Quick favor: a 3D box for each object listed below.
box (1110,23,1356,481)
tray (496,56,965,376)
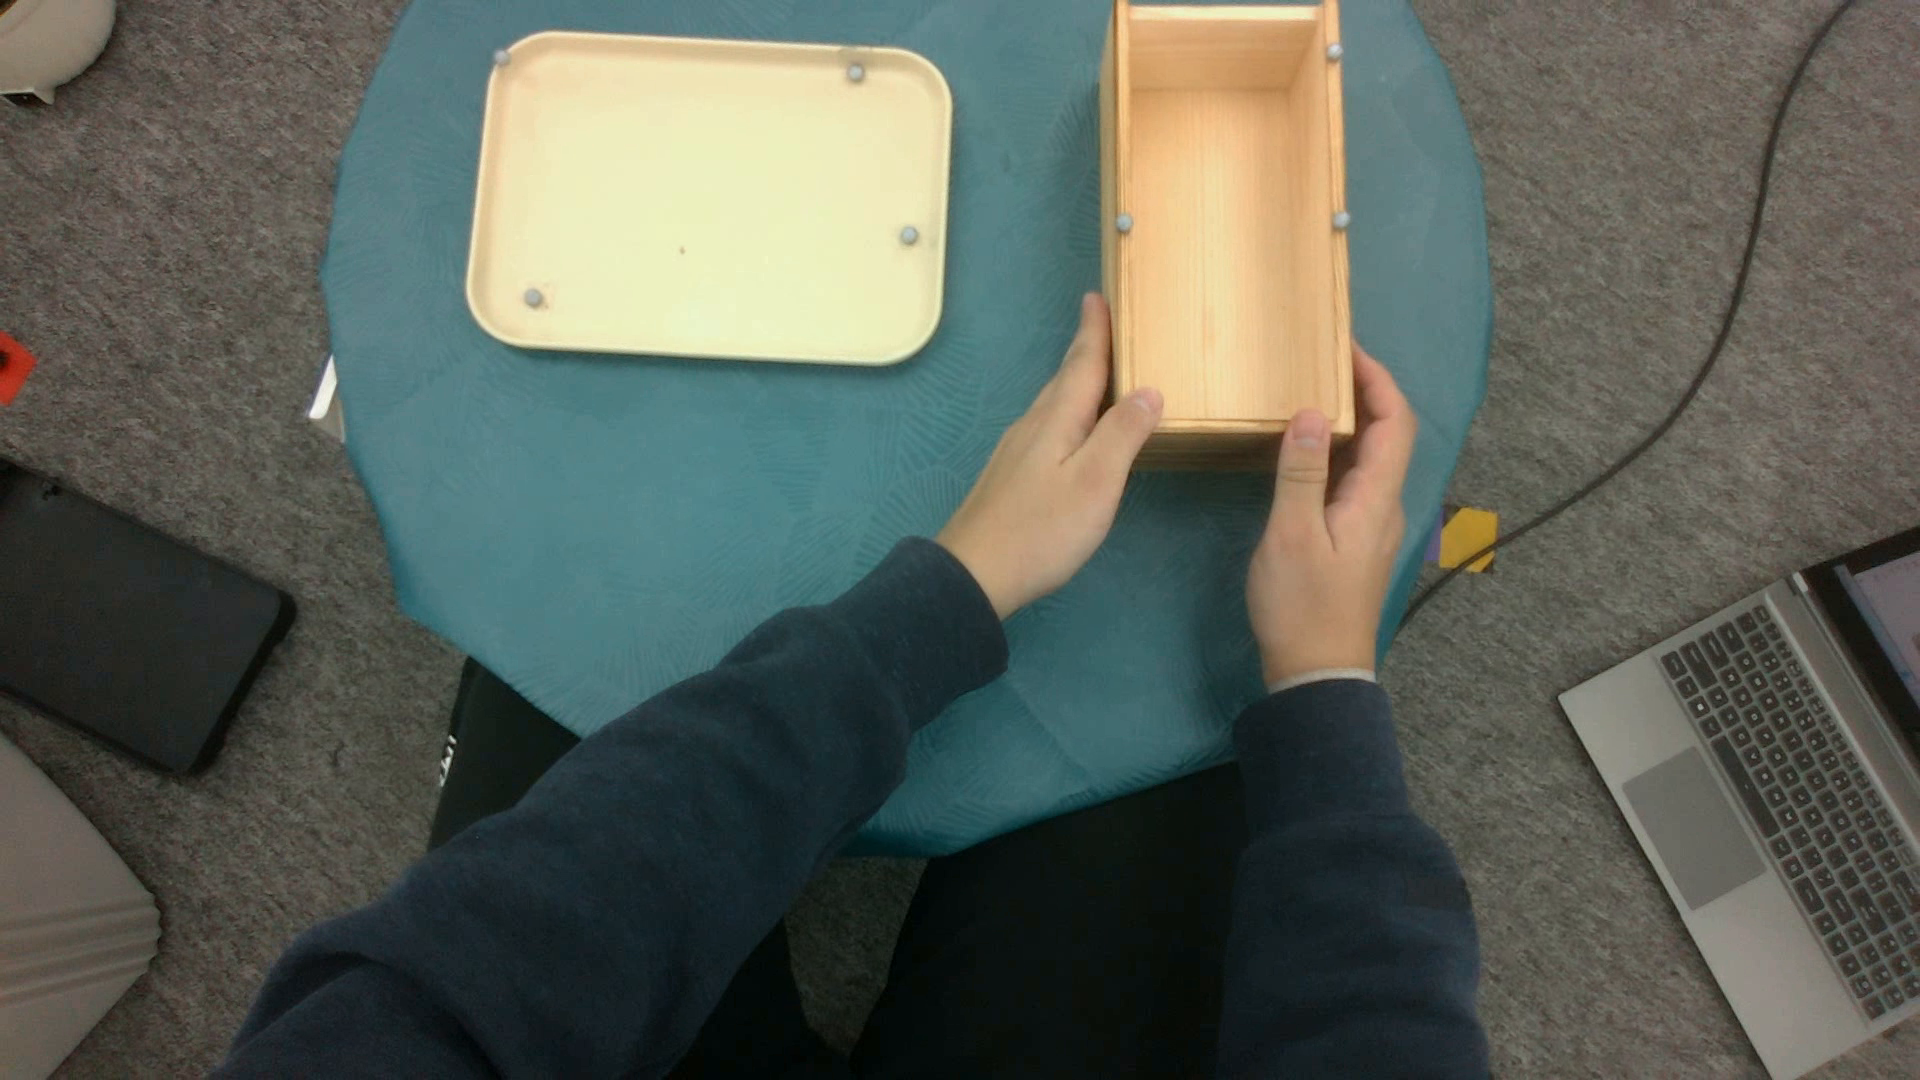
[{"bbox_3d":[0.131,-0.140,0.685,0.107,0.080,0.212,0,79,2],"label":"box"},{"bbox_3d":[-0.119,-0.170,0.725,0.239,0.017,0.171,3,80,1],"label":"tray"}]
